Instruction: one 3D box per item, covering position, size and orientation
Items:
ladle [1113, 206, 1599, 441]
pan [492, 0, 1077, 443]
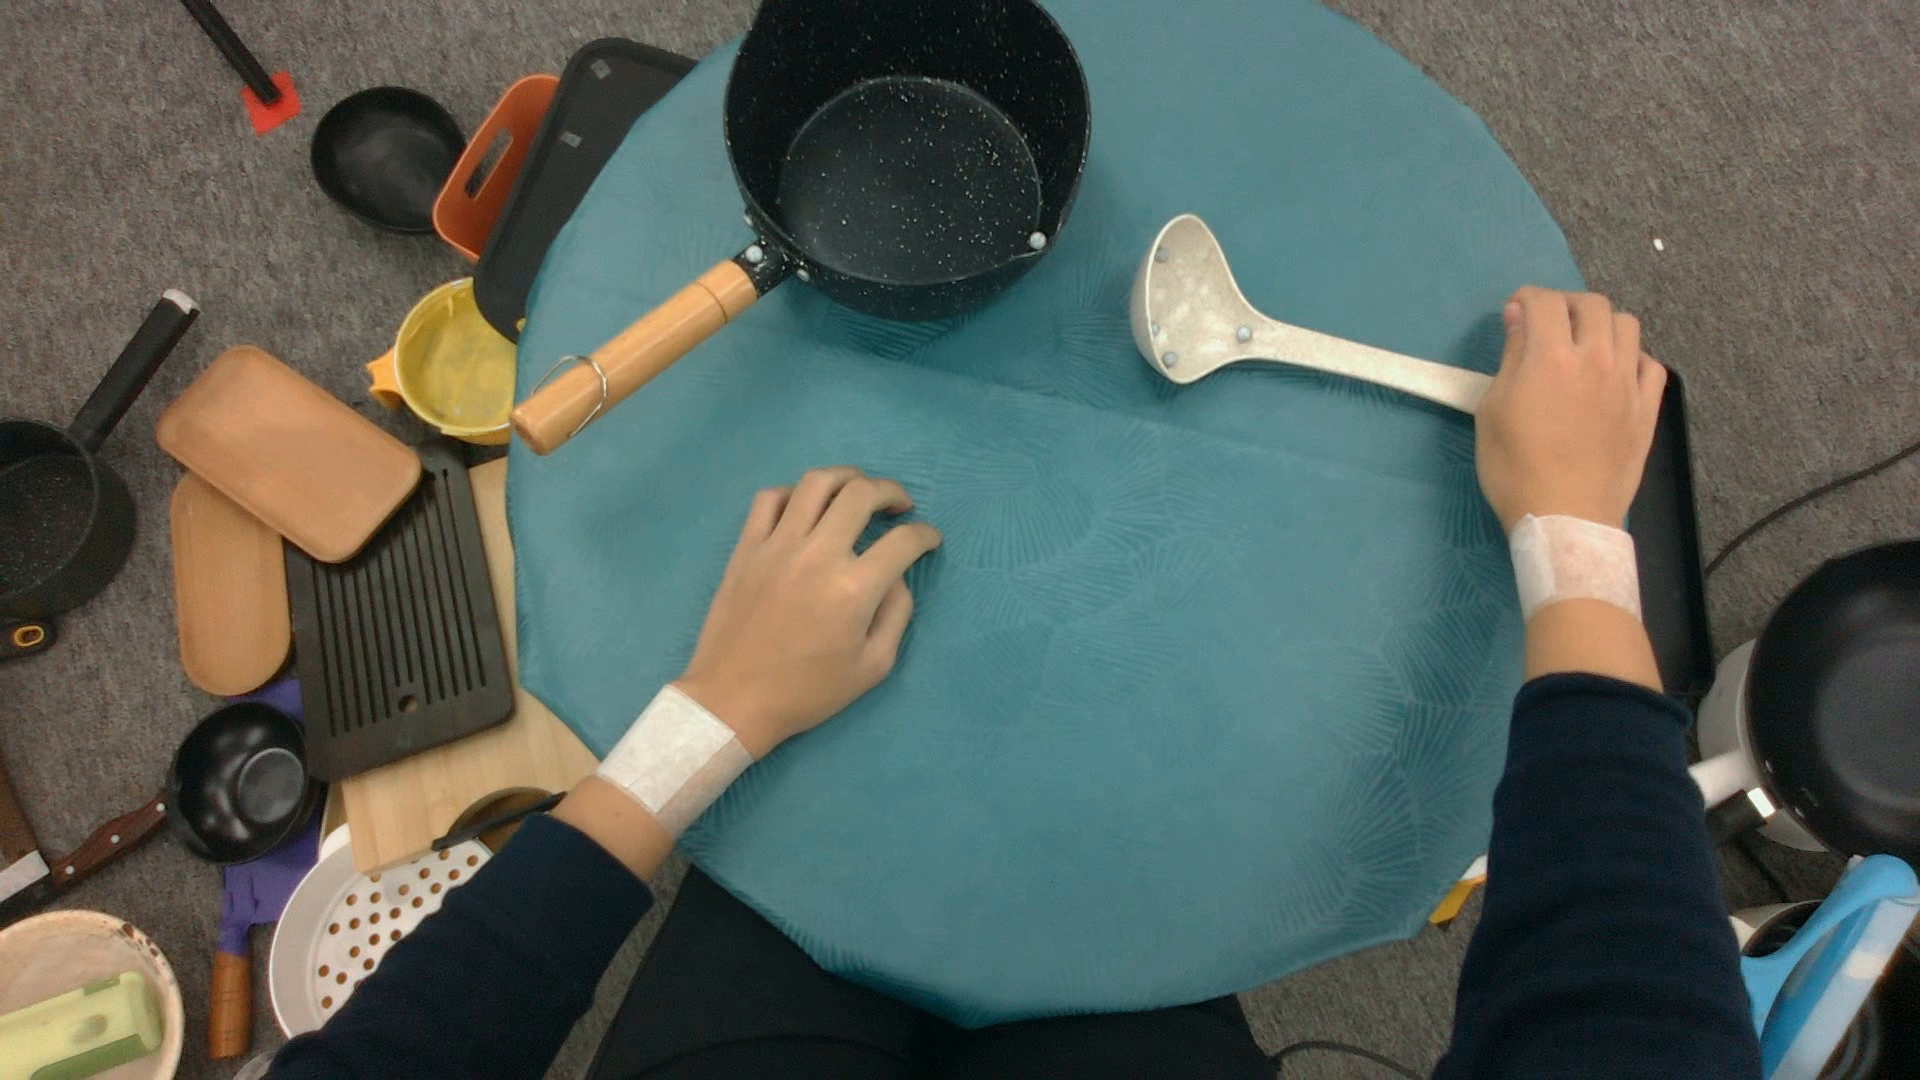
[{"bbox_3d":[0.214,-0.104,0.720,0.275,0.069,0.089,15,69,2],"label":"ladle"},{"bbox_3d":[-0.088,-0.154,0.702,0.207,0.108,0.343,42,76,8],"label":"pan"}]
